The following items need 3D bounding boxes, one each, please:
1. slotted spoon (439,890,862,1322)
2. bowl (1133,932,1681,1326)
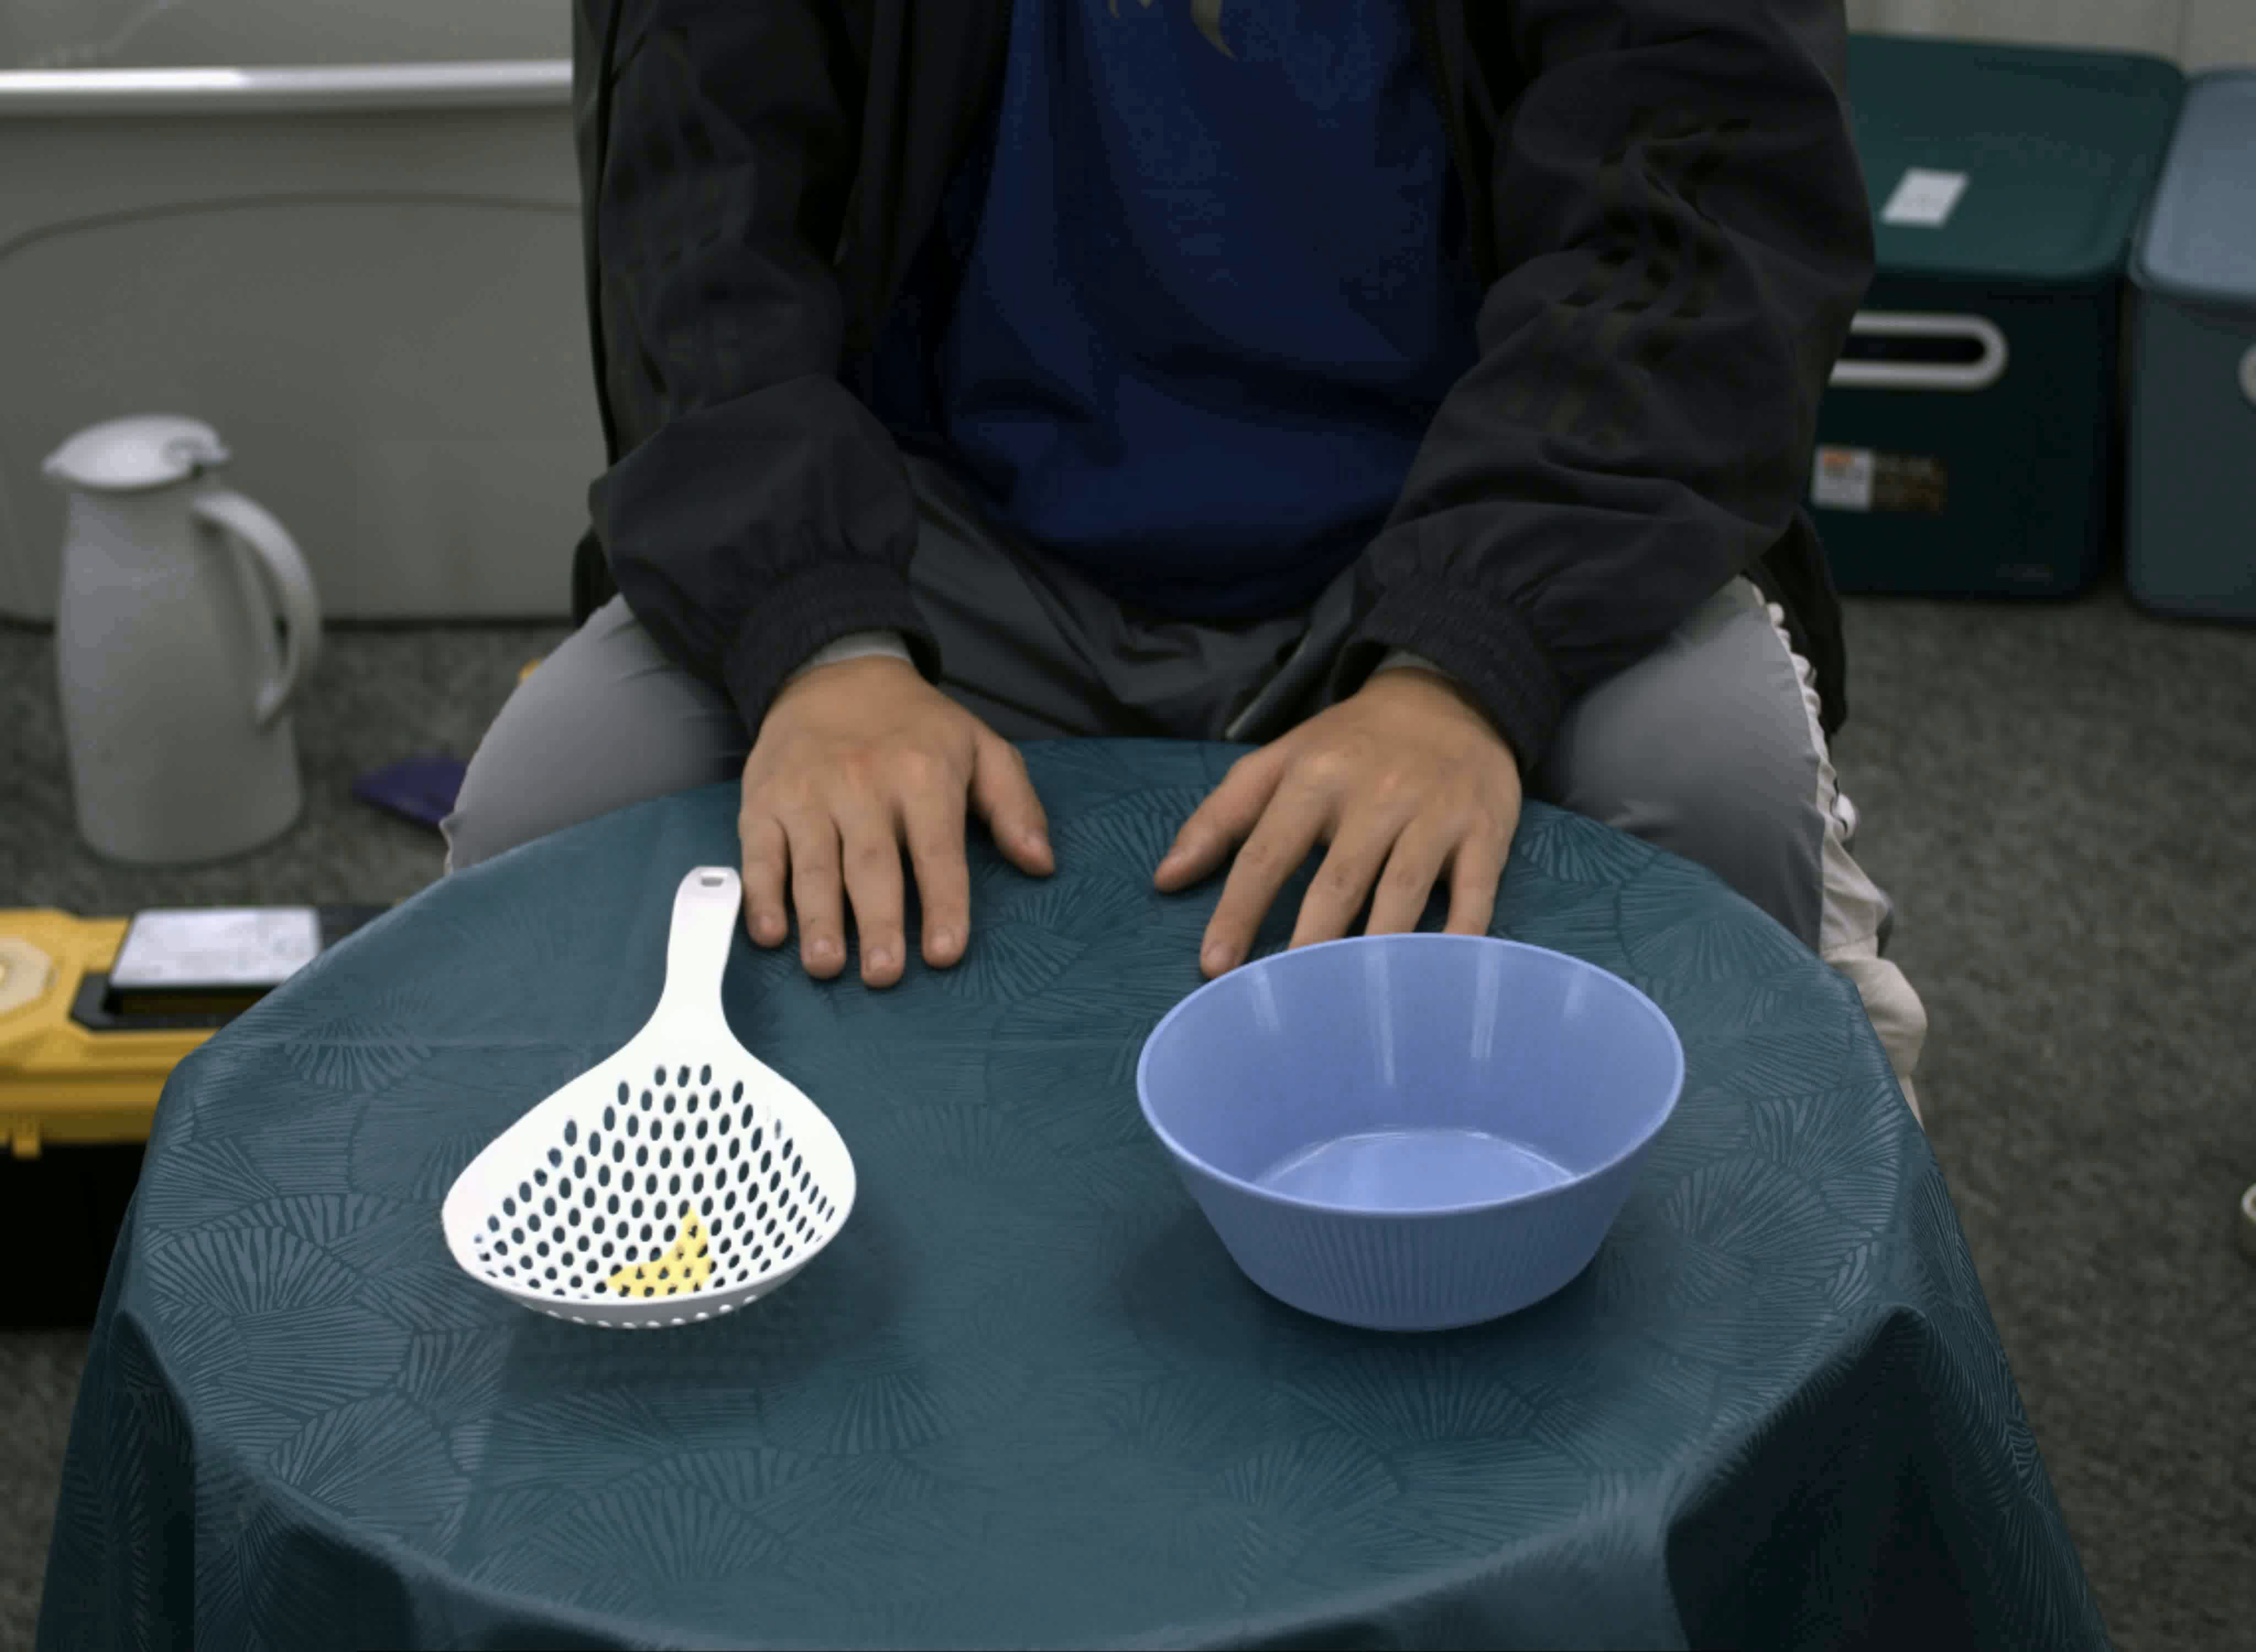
[{"bbox_3d":[-0.152,0.082,1.906,0.136,0.050,0.353,-6,27,2],"label":"slotted spoon"},{"bbox_3d":[0.090,0.103,1.811,0.175,0.069,0.179,-2,27,1],"label":"bowl"}]
